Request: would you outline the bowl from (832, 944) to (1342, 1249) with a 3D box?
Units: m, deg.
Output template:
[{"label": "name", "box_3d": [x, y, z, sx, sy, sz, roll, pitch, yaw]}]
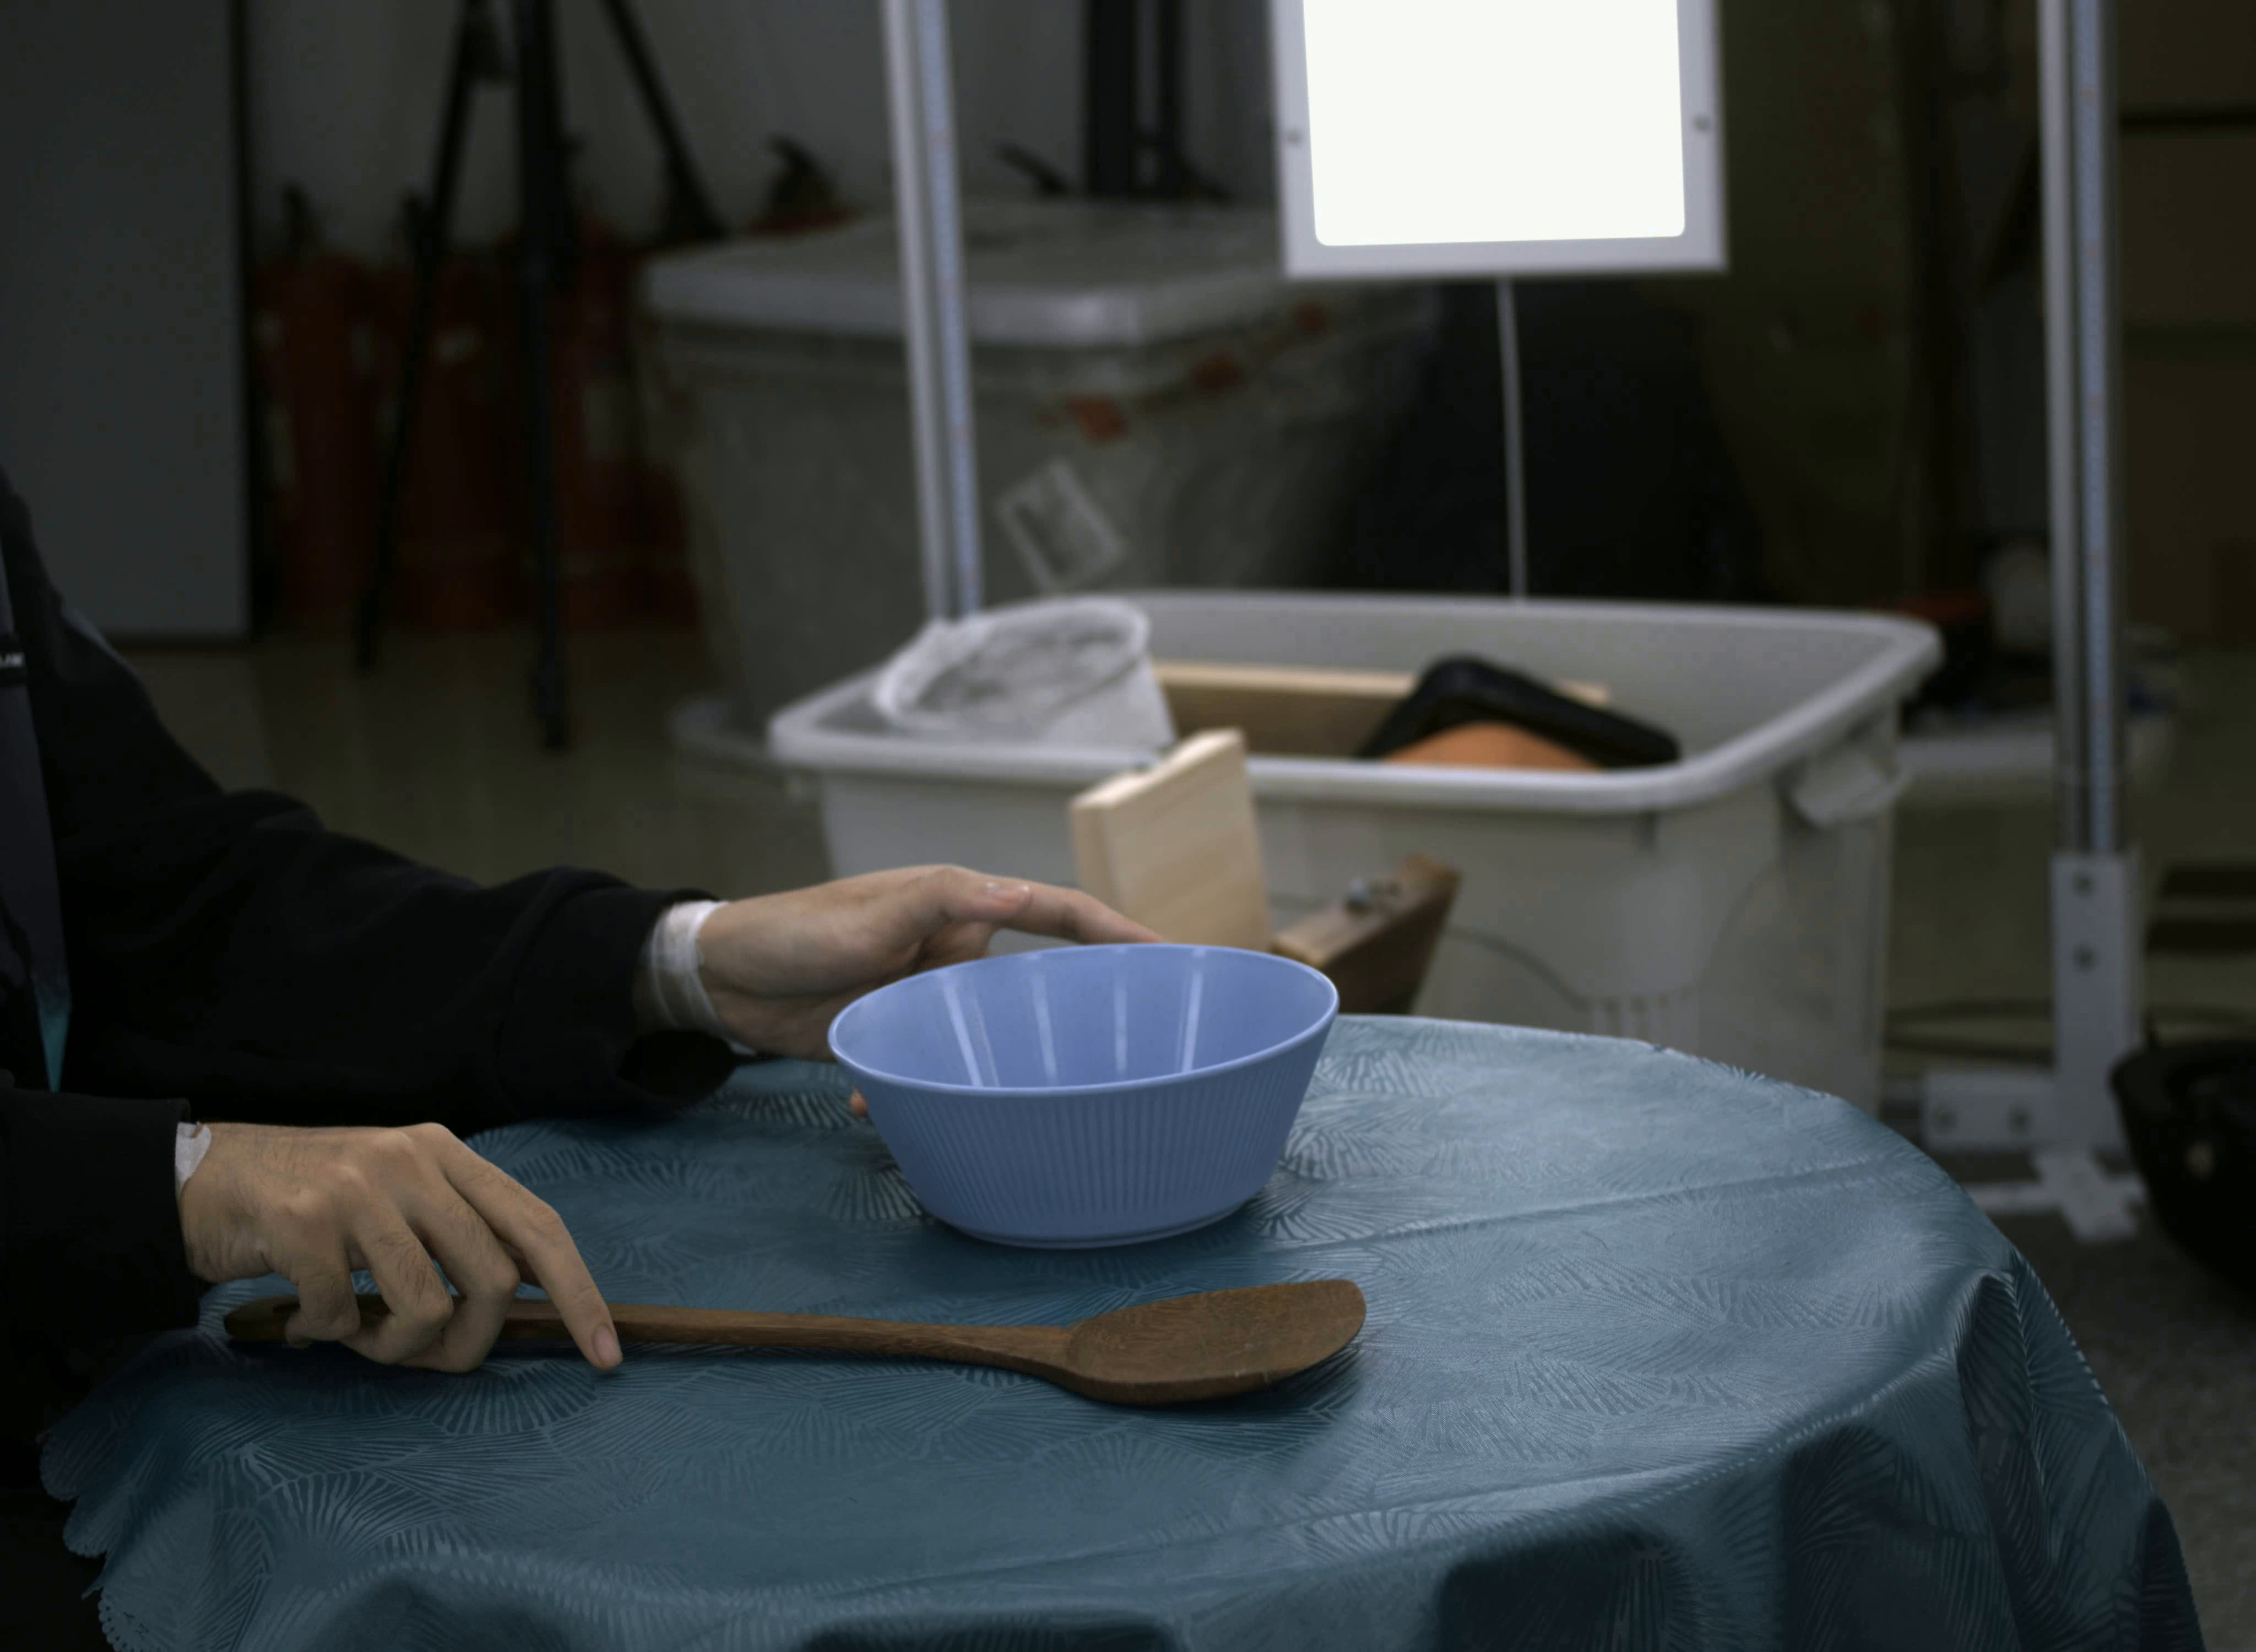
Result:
[{"label": "bowl", "box_3d": [-0.011, 0.095, 1.884, 0.175, 0.070, 0.176, -6, 13, 0]}]

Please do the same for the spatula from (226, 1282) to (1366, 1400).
[{"label": "spatula", "box_3d": [-0.113, 0.161, 1.764, 0.390, 0.016, 0.094, 0, 14, 19]}]
